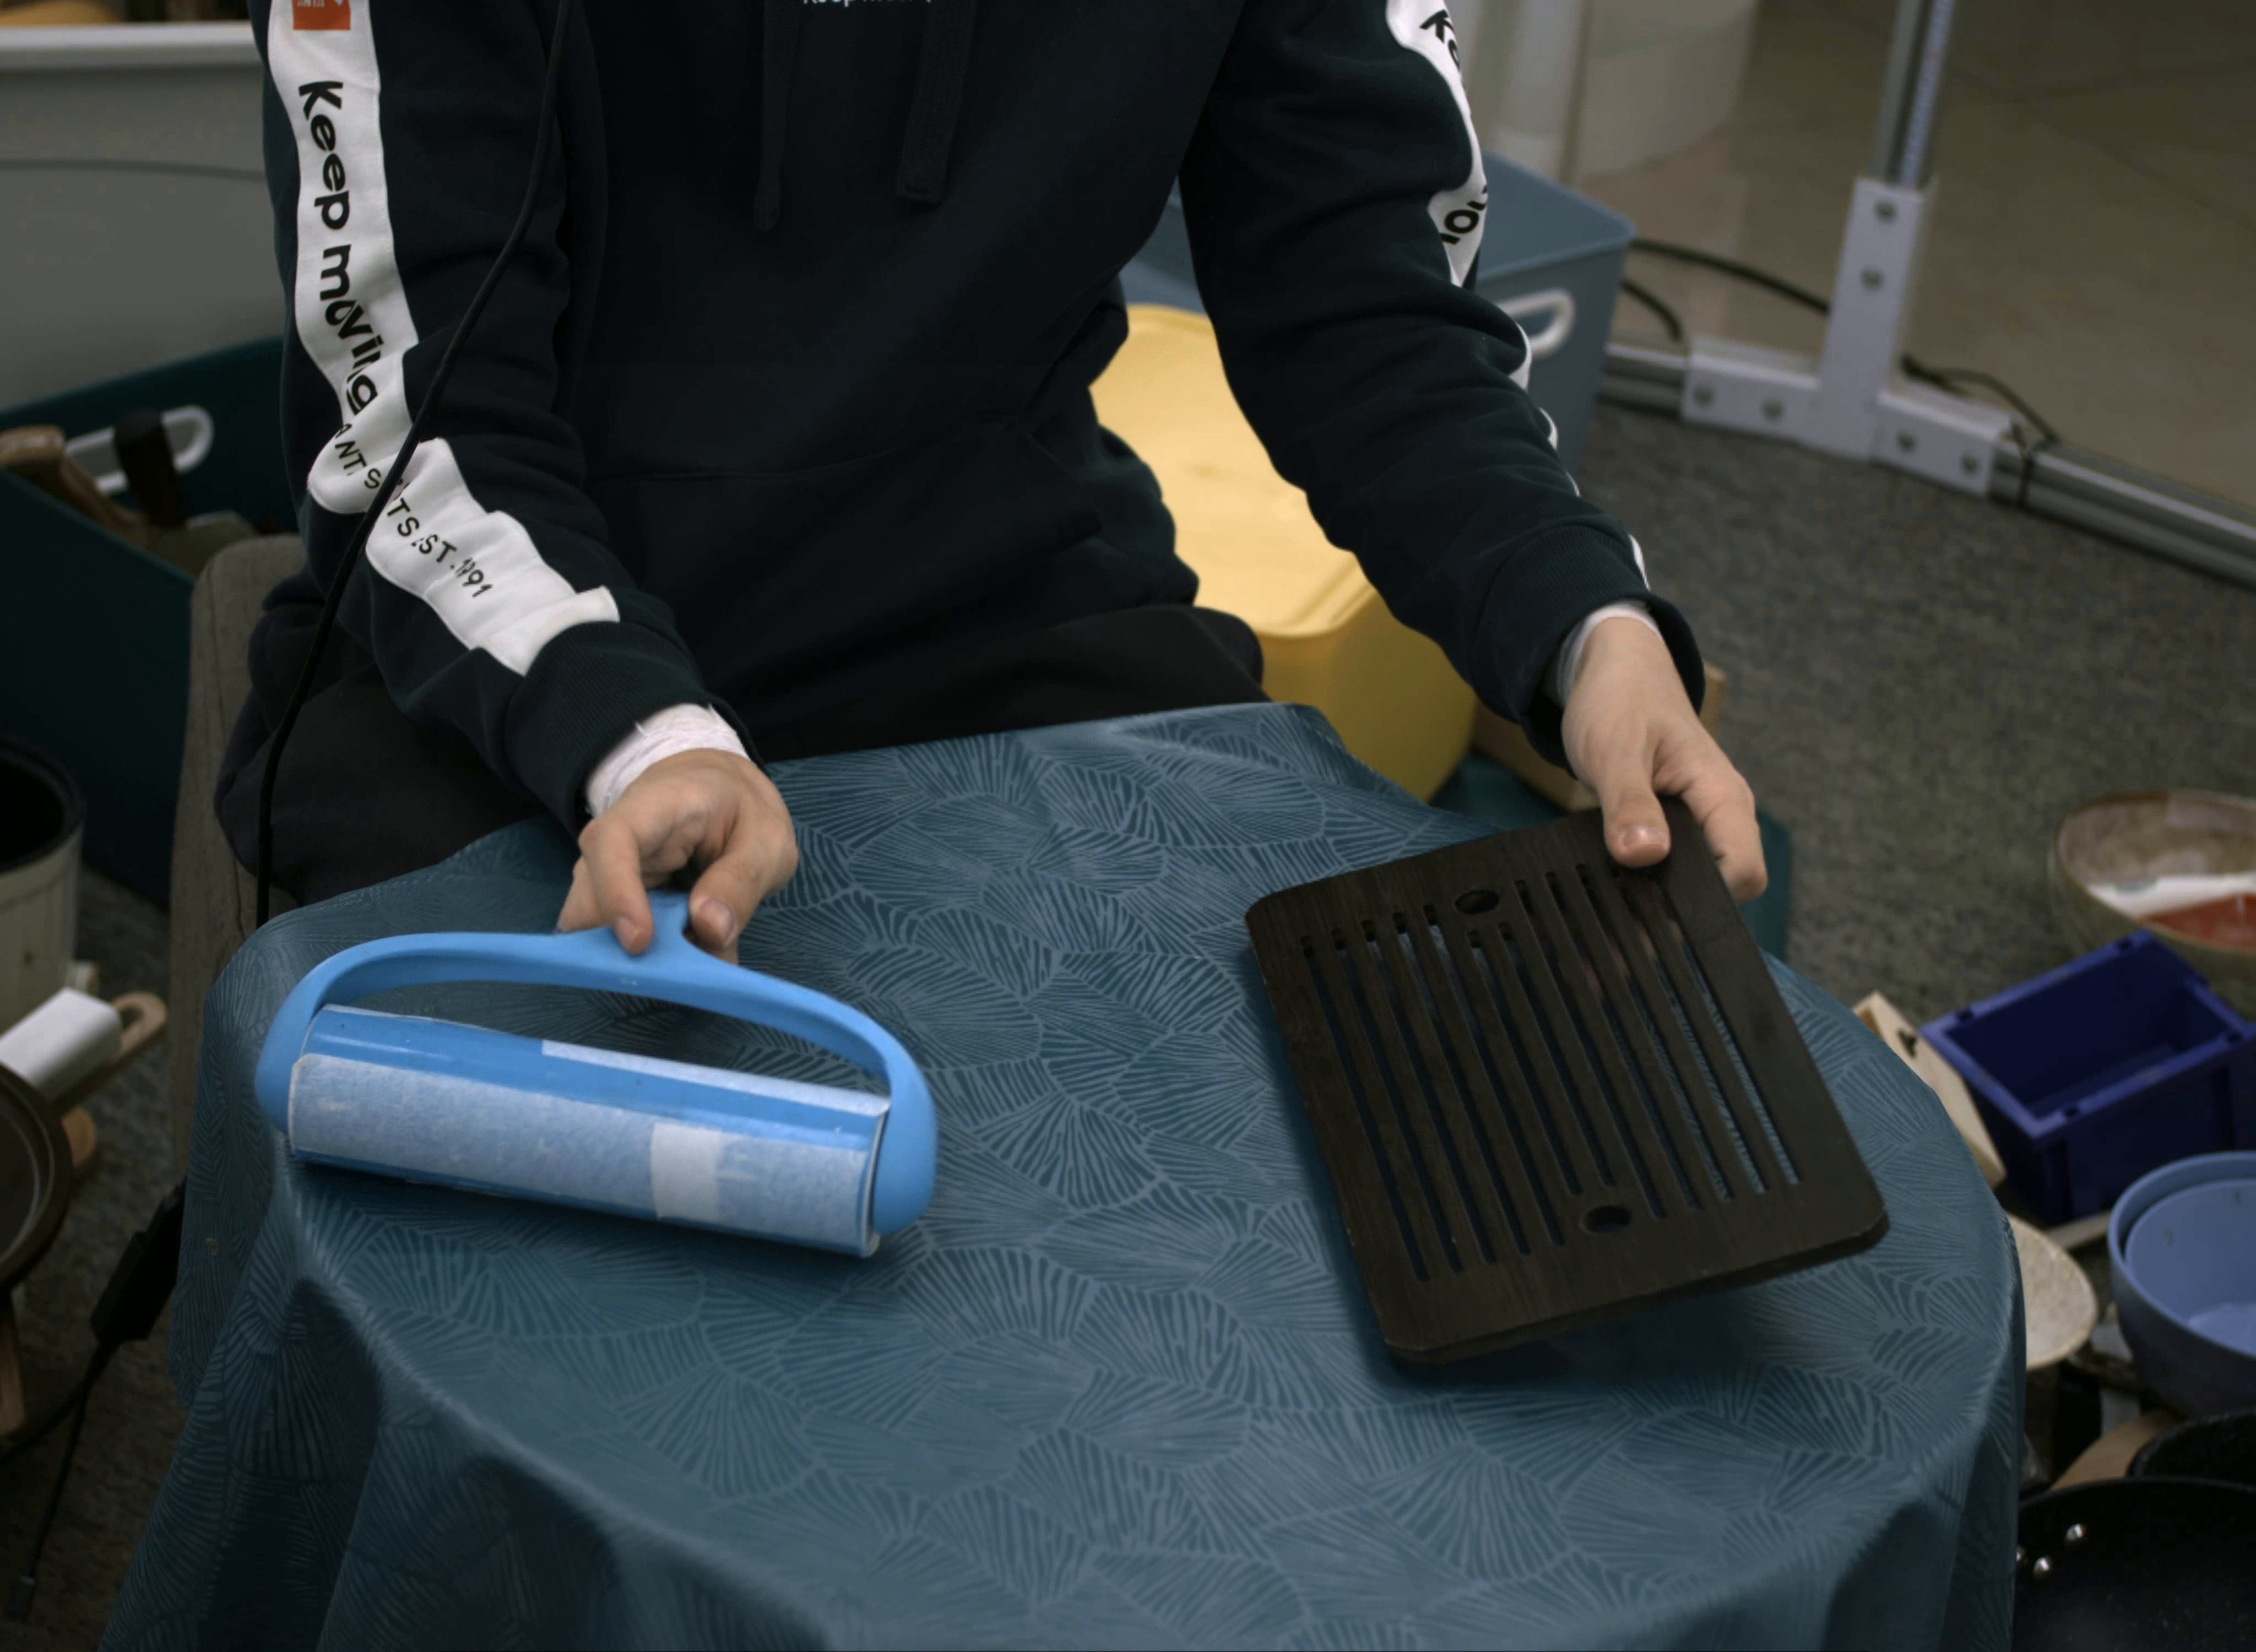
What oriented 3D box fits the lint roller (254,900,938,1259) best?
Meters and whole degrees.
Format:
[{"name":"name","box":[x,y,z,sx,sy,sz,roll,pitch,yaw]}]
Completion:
[{"name":"lint roller","box":[-0.168,0.065,1.792,0.228,0.067,0.181,6,36,5]}]

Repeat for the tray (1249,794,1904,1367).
[{"name":"tray","box":[0.148,0.084,1.835,0.169,0.018,0.308,-15,29,-1]}]
